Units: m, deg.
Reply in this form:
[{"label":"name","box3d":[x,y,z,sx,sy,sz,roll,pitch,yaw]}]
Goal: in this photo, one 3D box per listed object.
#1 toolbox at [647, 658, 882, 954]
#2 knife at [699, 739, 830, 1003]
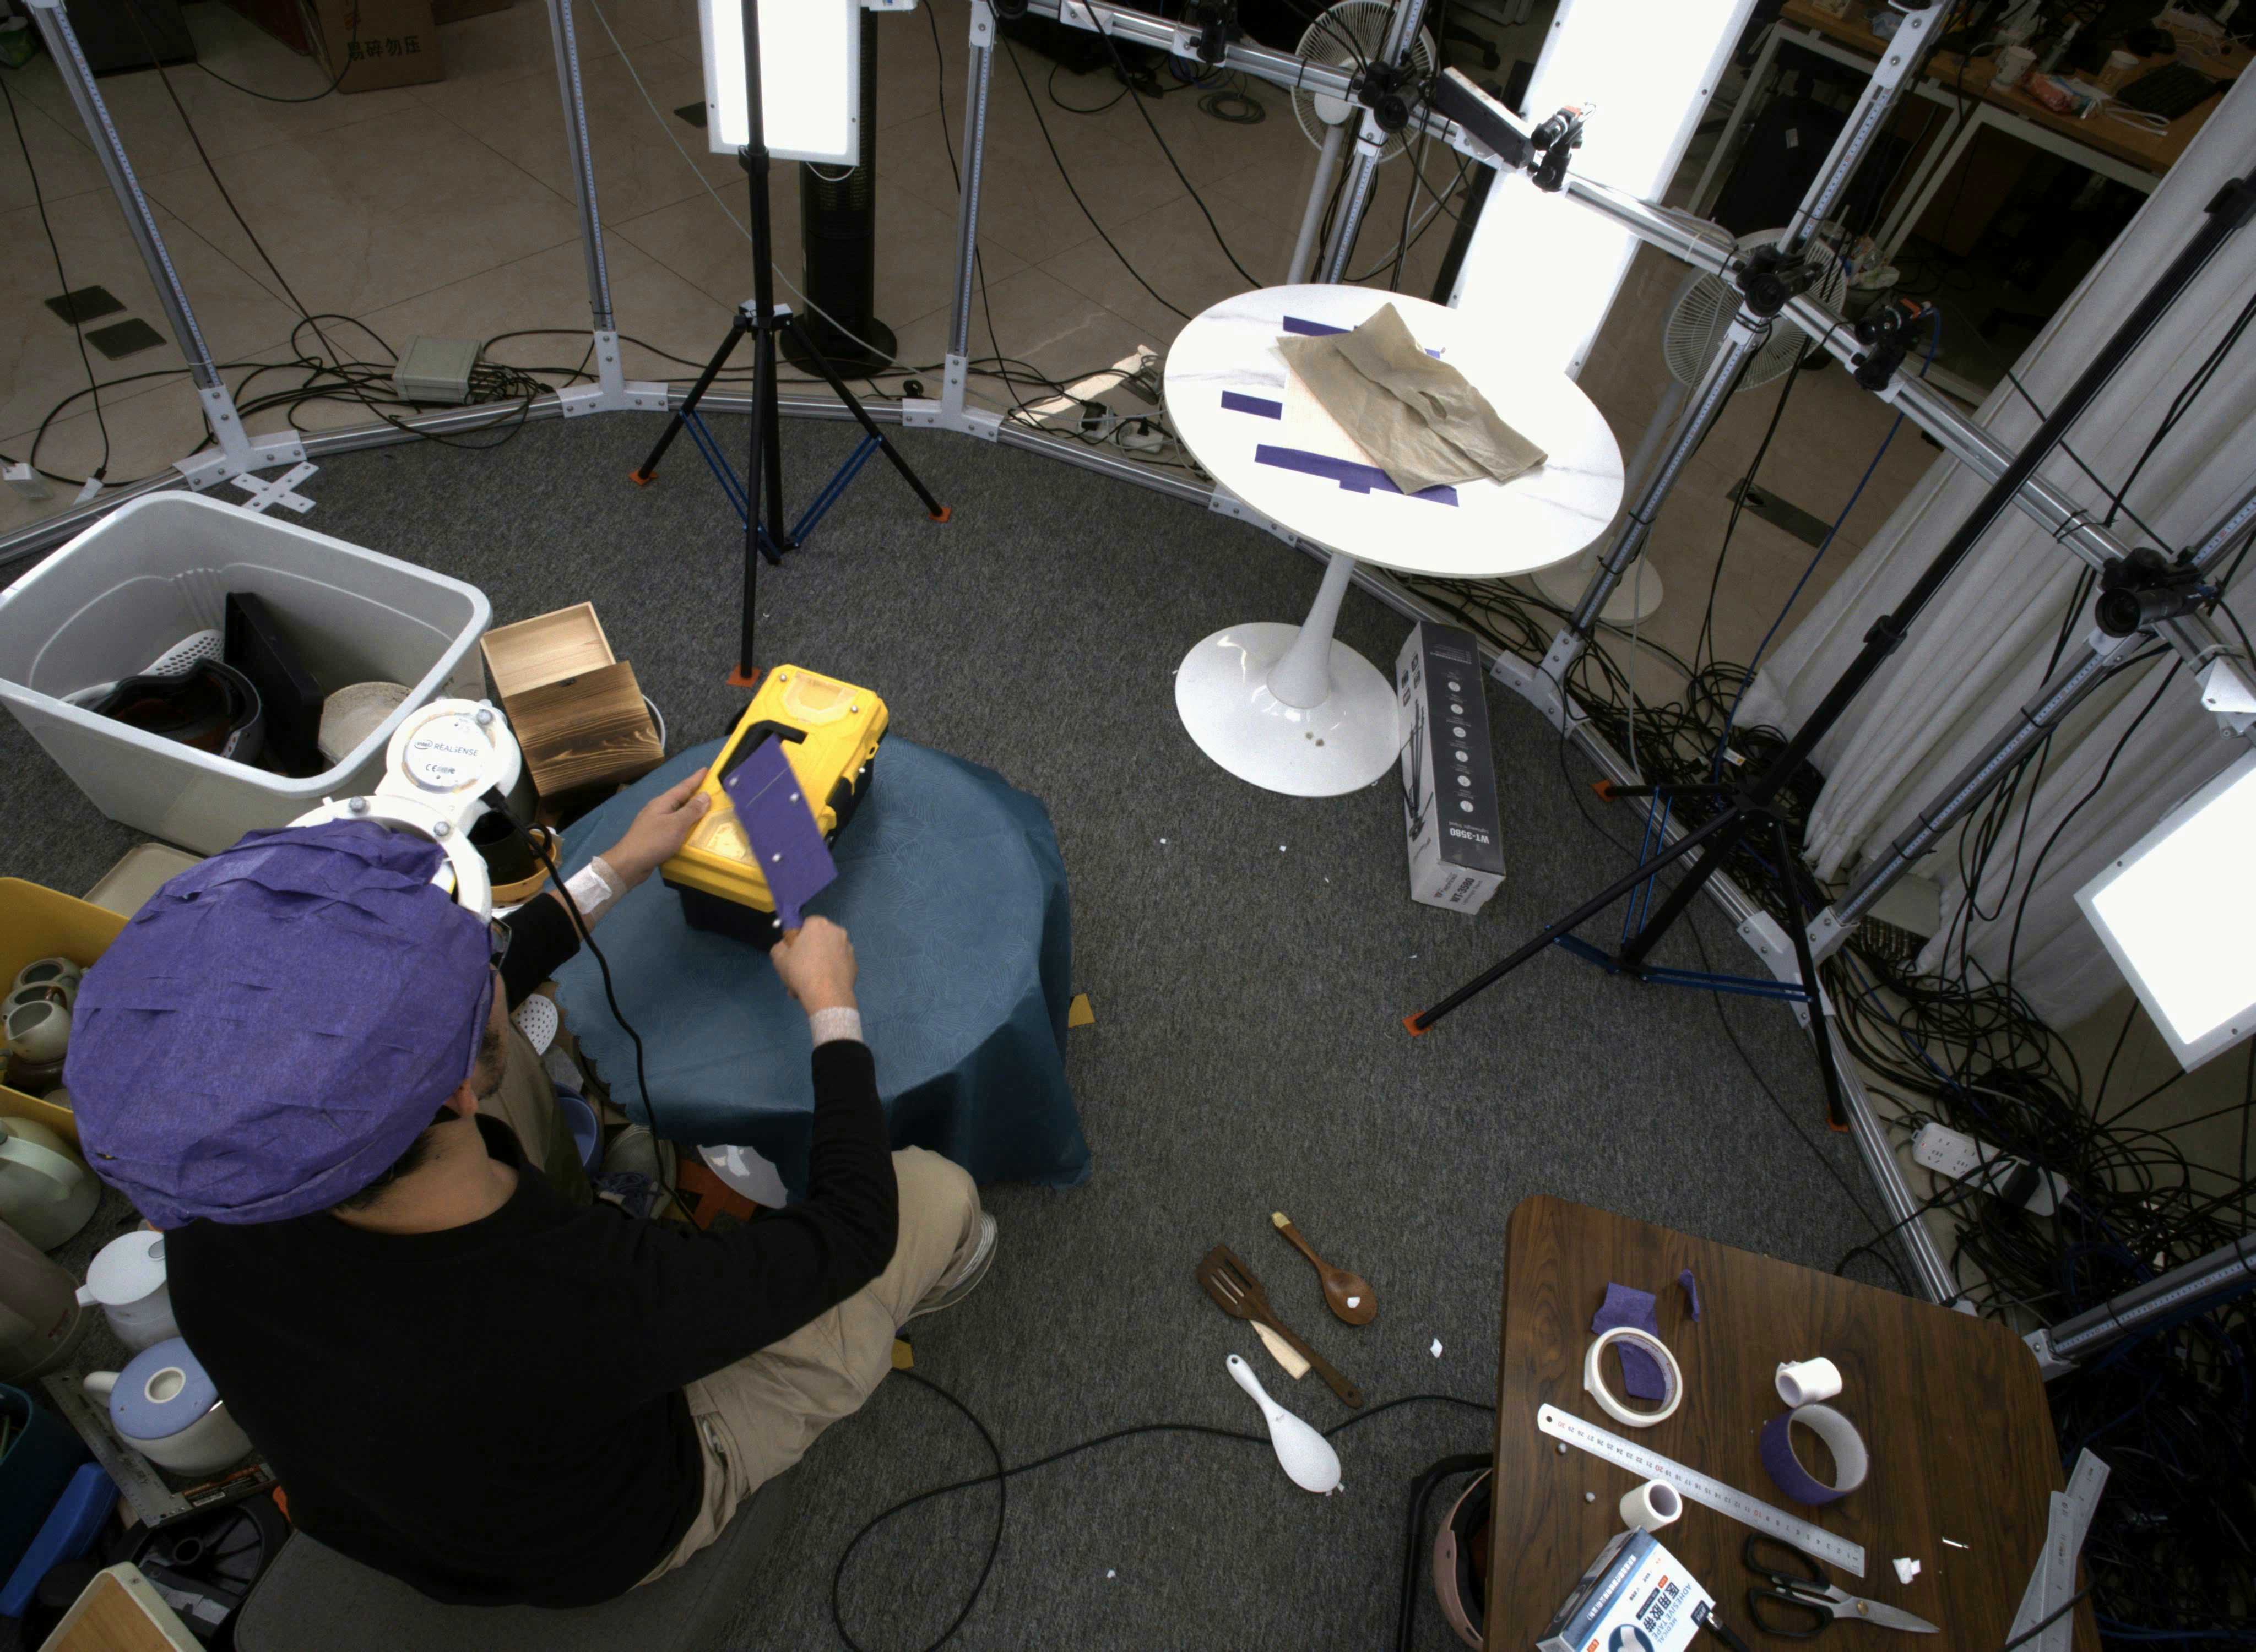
[{"label":"toolbox","box3d":[-0.446,-0.026,1.621,0.179,0.176,0.347,18,52,2]},{"label":"knife","box3d":[-0.384,0.039,1.418,0.309,0.103,0.033,56,17,21]}]
